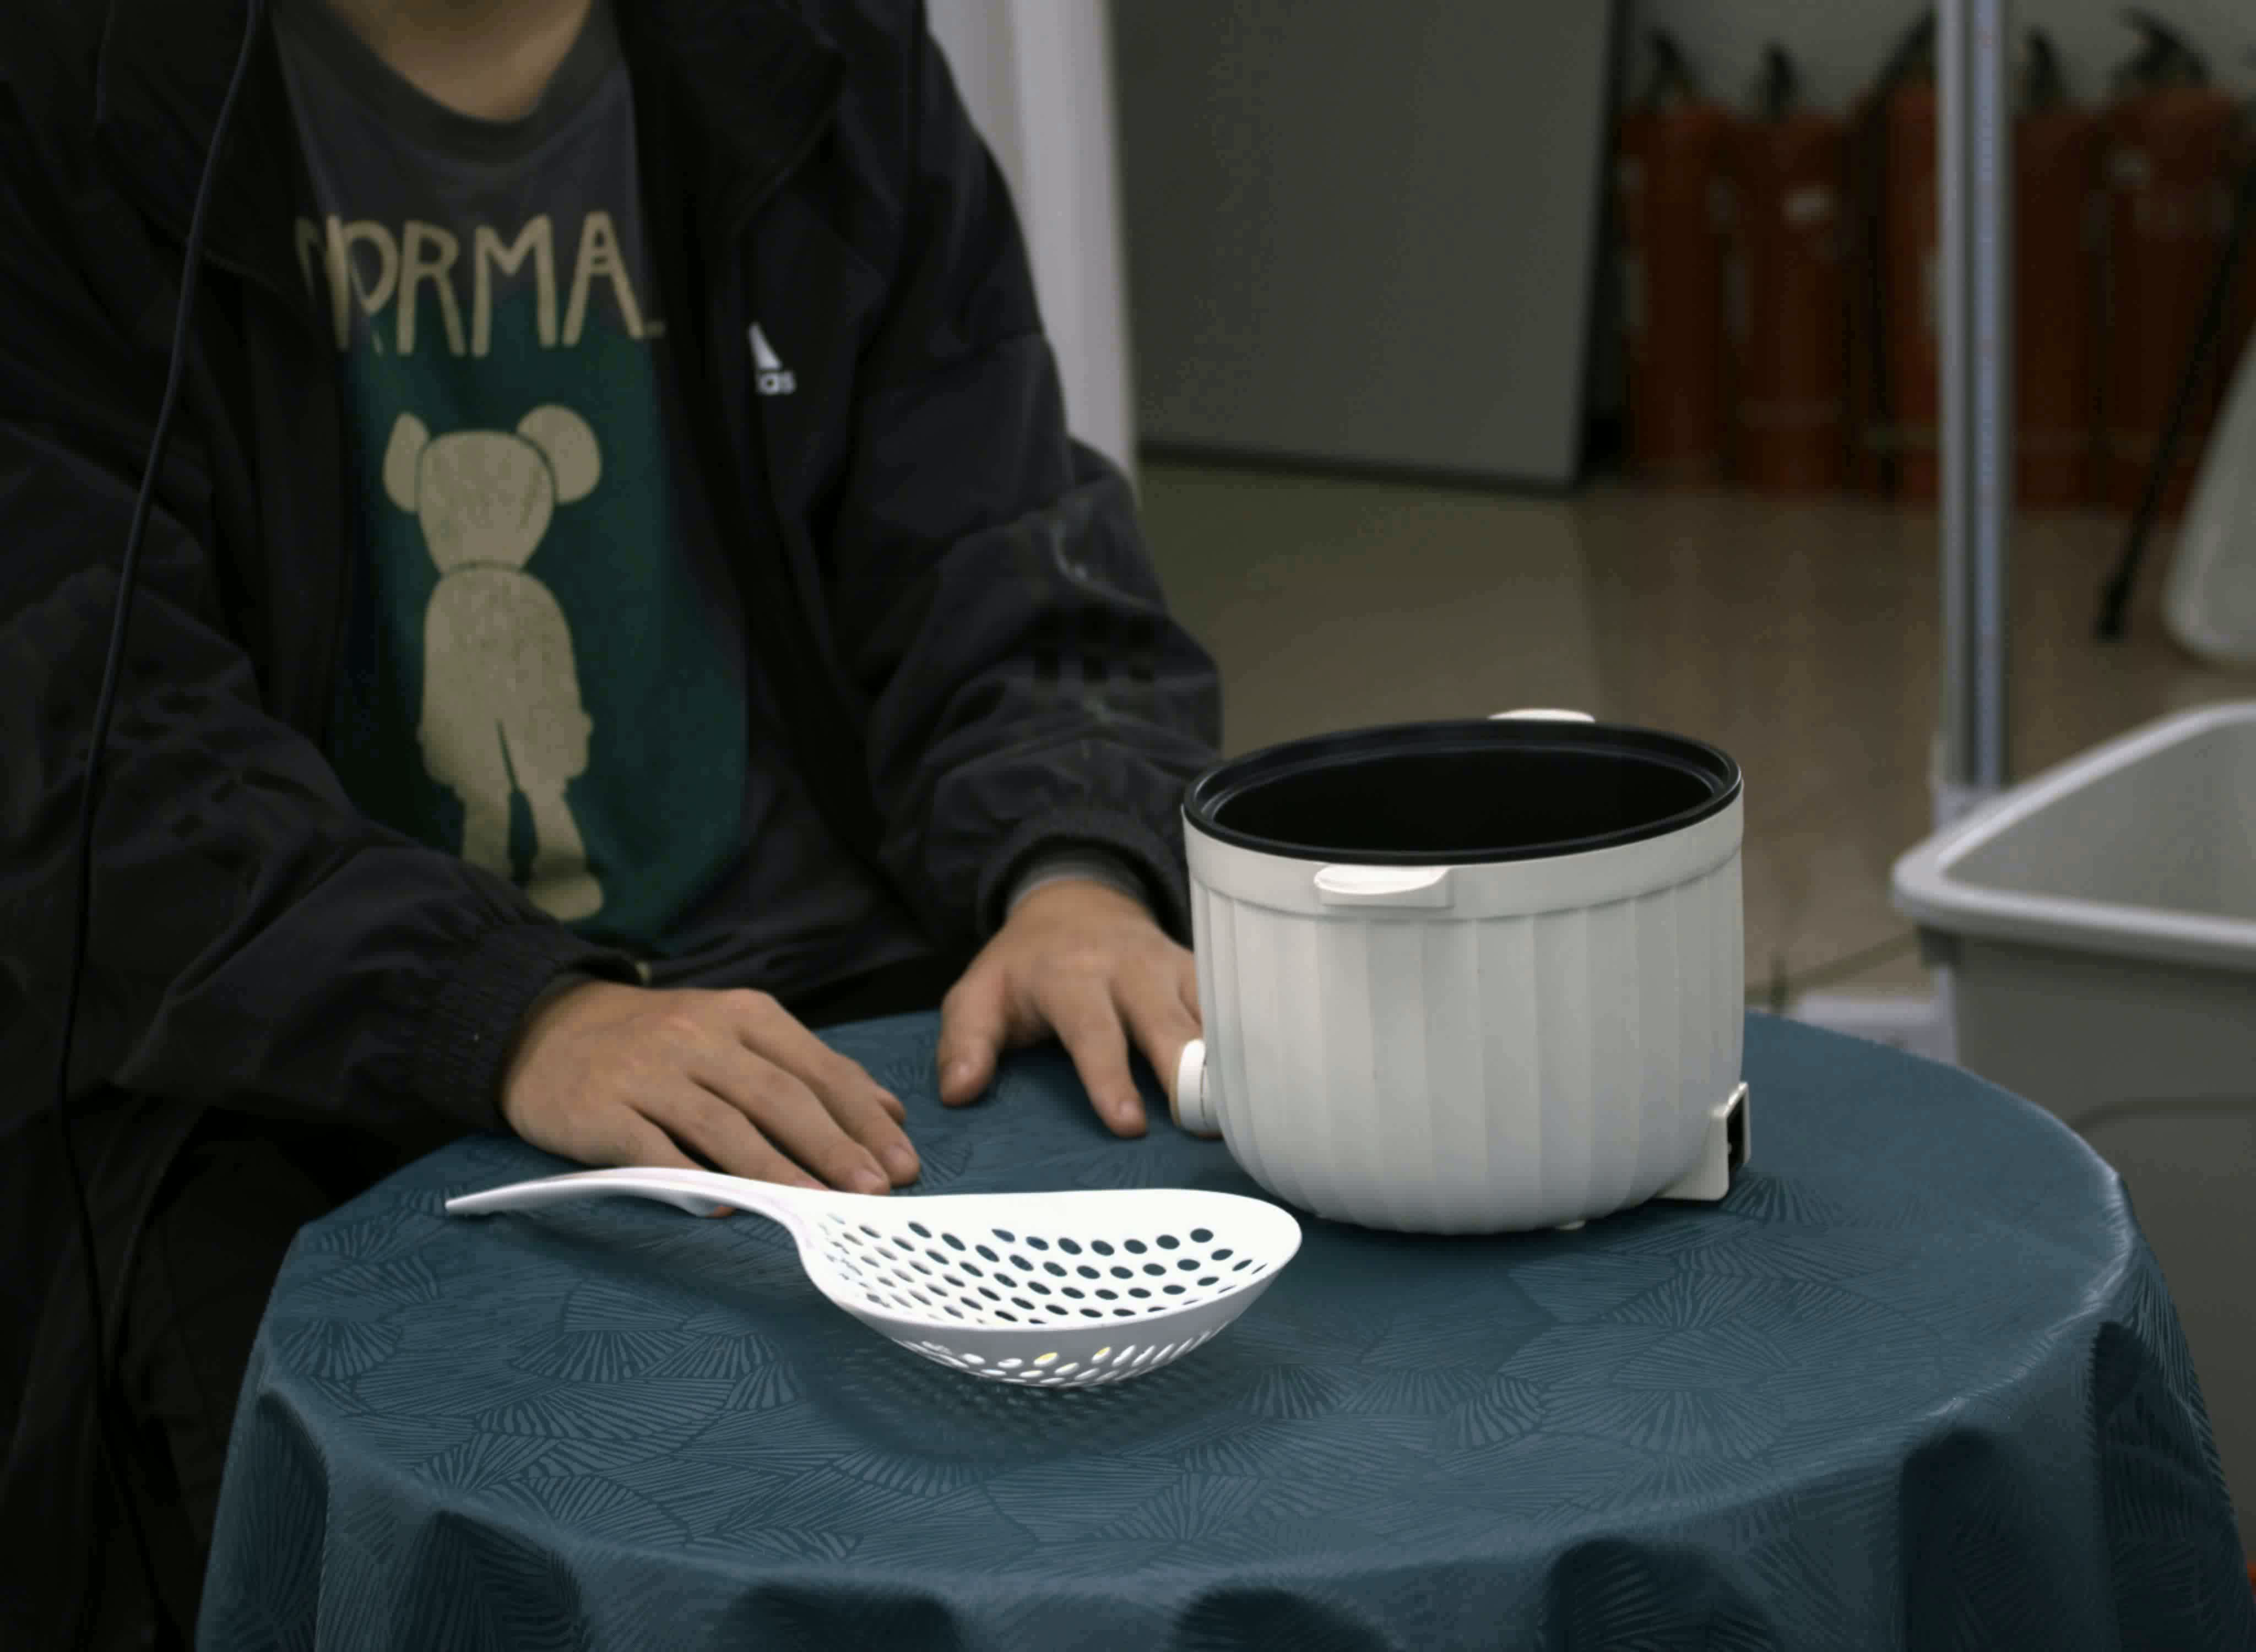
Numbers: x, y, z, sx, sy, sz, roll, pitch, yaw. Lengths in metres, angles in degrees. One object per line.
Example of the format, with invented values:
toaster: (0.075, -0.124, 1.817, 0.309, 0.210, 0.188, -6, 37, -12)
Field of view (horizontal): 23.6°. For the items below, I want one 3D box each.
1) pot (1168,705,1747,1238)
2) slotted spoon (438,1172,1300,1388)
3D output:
pot: (0.105, 0.050, 1.742, 0.190, 0.144, 0.238, 4, 14, 18)
slotted spoon: (-0.095, 0.130, 1.676, 0.351, 0.051, 0.134, 9, 21, 43)
